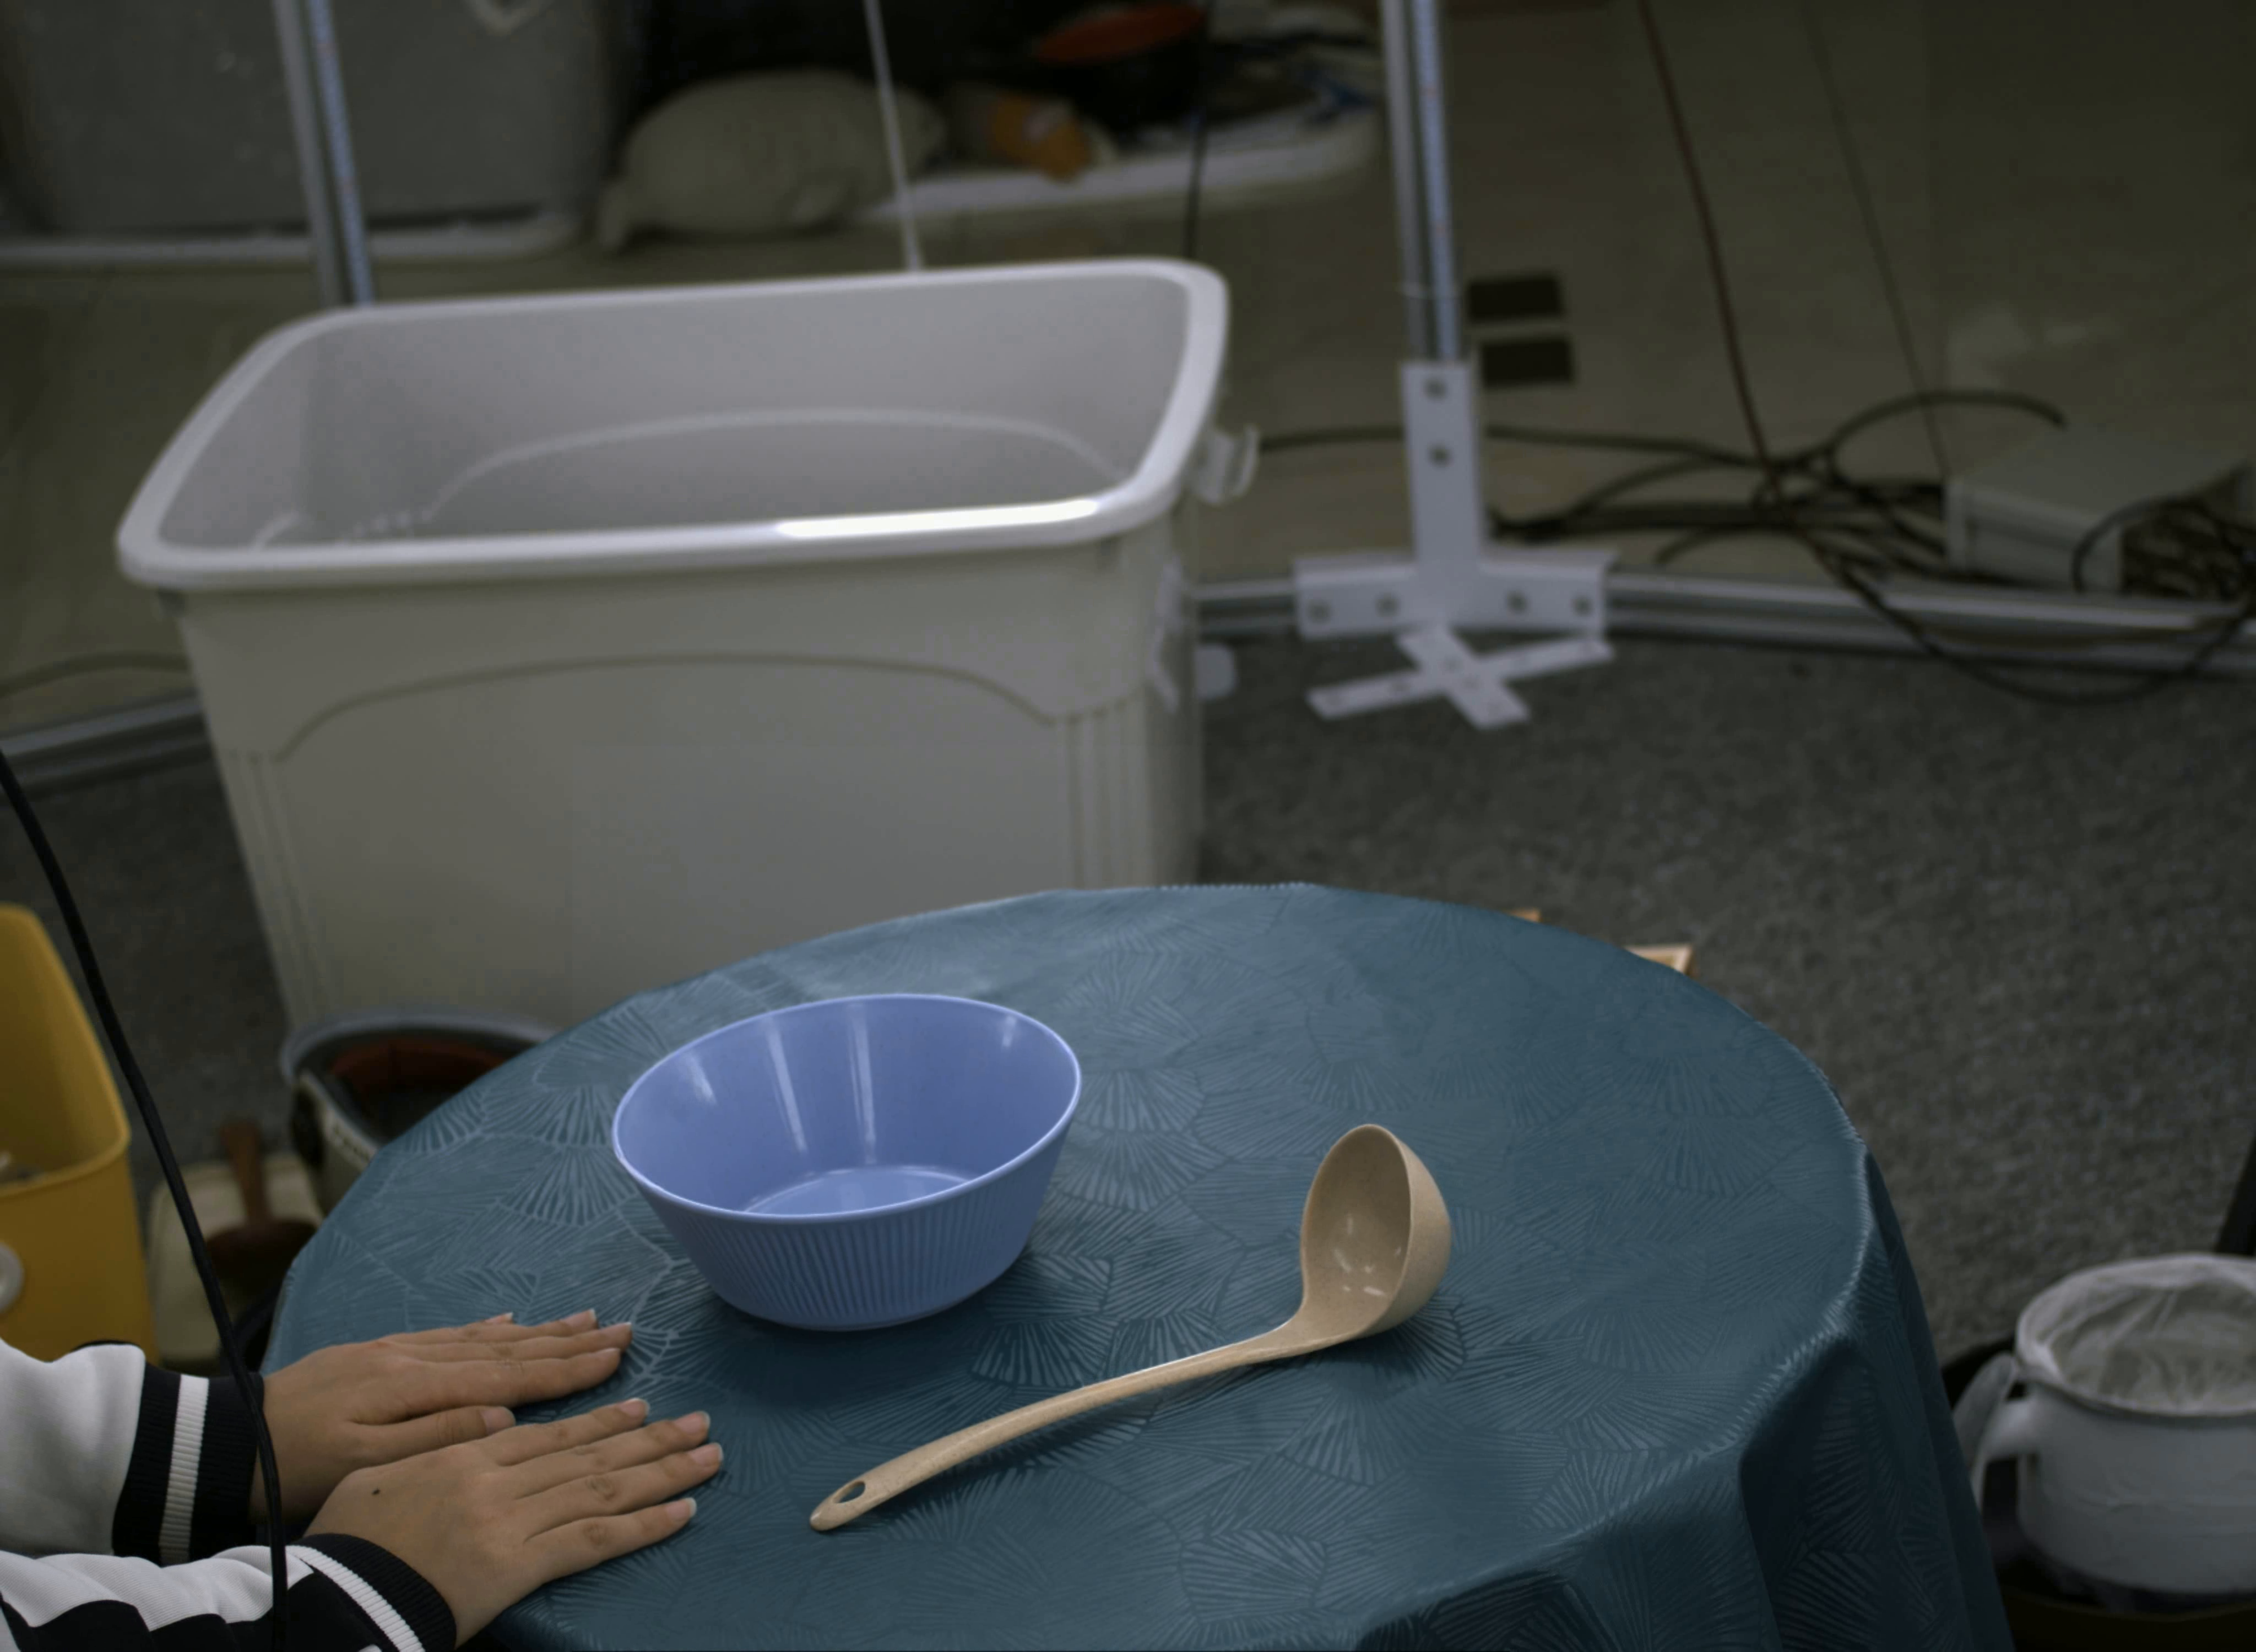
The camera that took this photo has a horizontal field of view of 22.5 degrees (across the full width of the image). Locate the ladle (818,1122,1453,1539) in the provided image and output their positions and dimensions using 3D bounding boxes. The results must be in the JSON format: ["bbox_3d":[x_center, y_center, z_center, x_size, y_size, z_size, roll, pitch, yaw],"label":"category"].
[{"bbox_3d":[-0.002,0.173,1.987,0.253,0.074,0.071,-19,24,-25],"label":"ladle"}]

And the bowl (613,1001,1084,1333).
[{"bbox_3d":[-0.100,0.132,2.105,0.176,0.071,0.173,-6,24,3],"label":"bowl"}]
